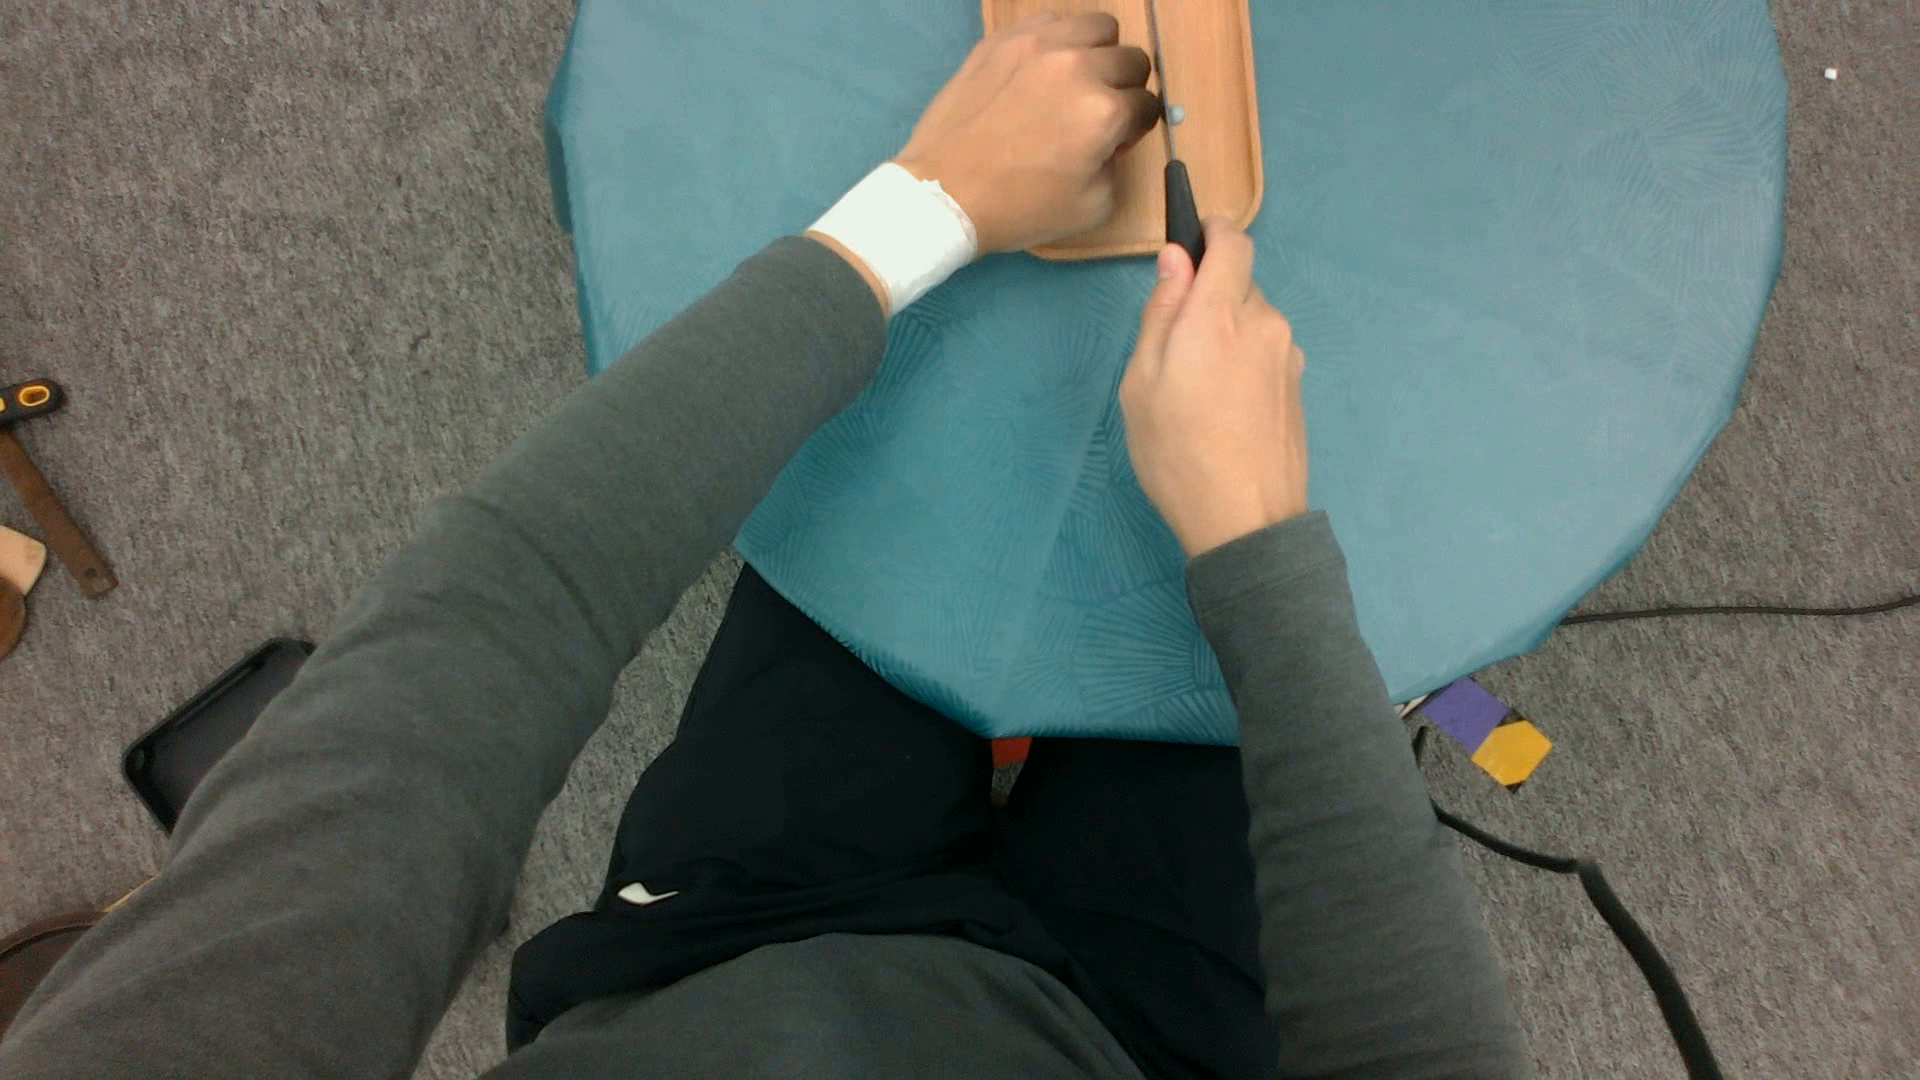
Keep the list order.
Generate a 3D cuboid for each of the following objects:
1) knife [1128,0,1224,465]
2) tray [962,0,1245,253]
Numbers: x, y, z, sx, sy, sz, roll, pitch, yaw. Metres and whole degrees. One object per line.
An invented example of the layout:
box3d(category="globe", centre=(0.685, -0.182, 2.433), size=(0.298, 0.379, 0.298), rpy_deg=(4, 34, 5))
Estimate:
box3d(category="knife", centre=(0.085, -0.183, 0.608), size=(0.021, 0.081, 0.302), rpy_deg=(-9, 83, 9))
box3d(category="tray", centre=(0.066, -0.265, 0.673), size=(0.130, 0.023, 0.251), rpy_deg=(-4, 87, 1))
